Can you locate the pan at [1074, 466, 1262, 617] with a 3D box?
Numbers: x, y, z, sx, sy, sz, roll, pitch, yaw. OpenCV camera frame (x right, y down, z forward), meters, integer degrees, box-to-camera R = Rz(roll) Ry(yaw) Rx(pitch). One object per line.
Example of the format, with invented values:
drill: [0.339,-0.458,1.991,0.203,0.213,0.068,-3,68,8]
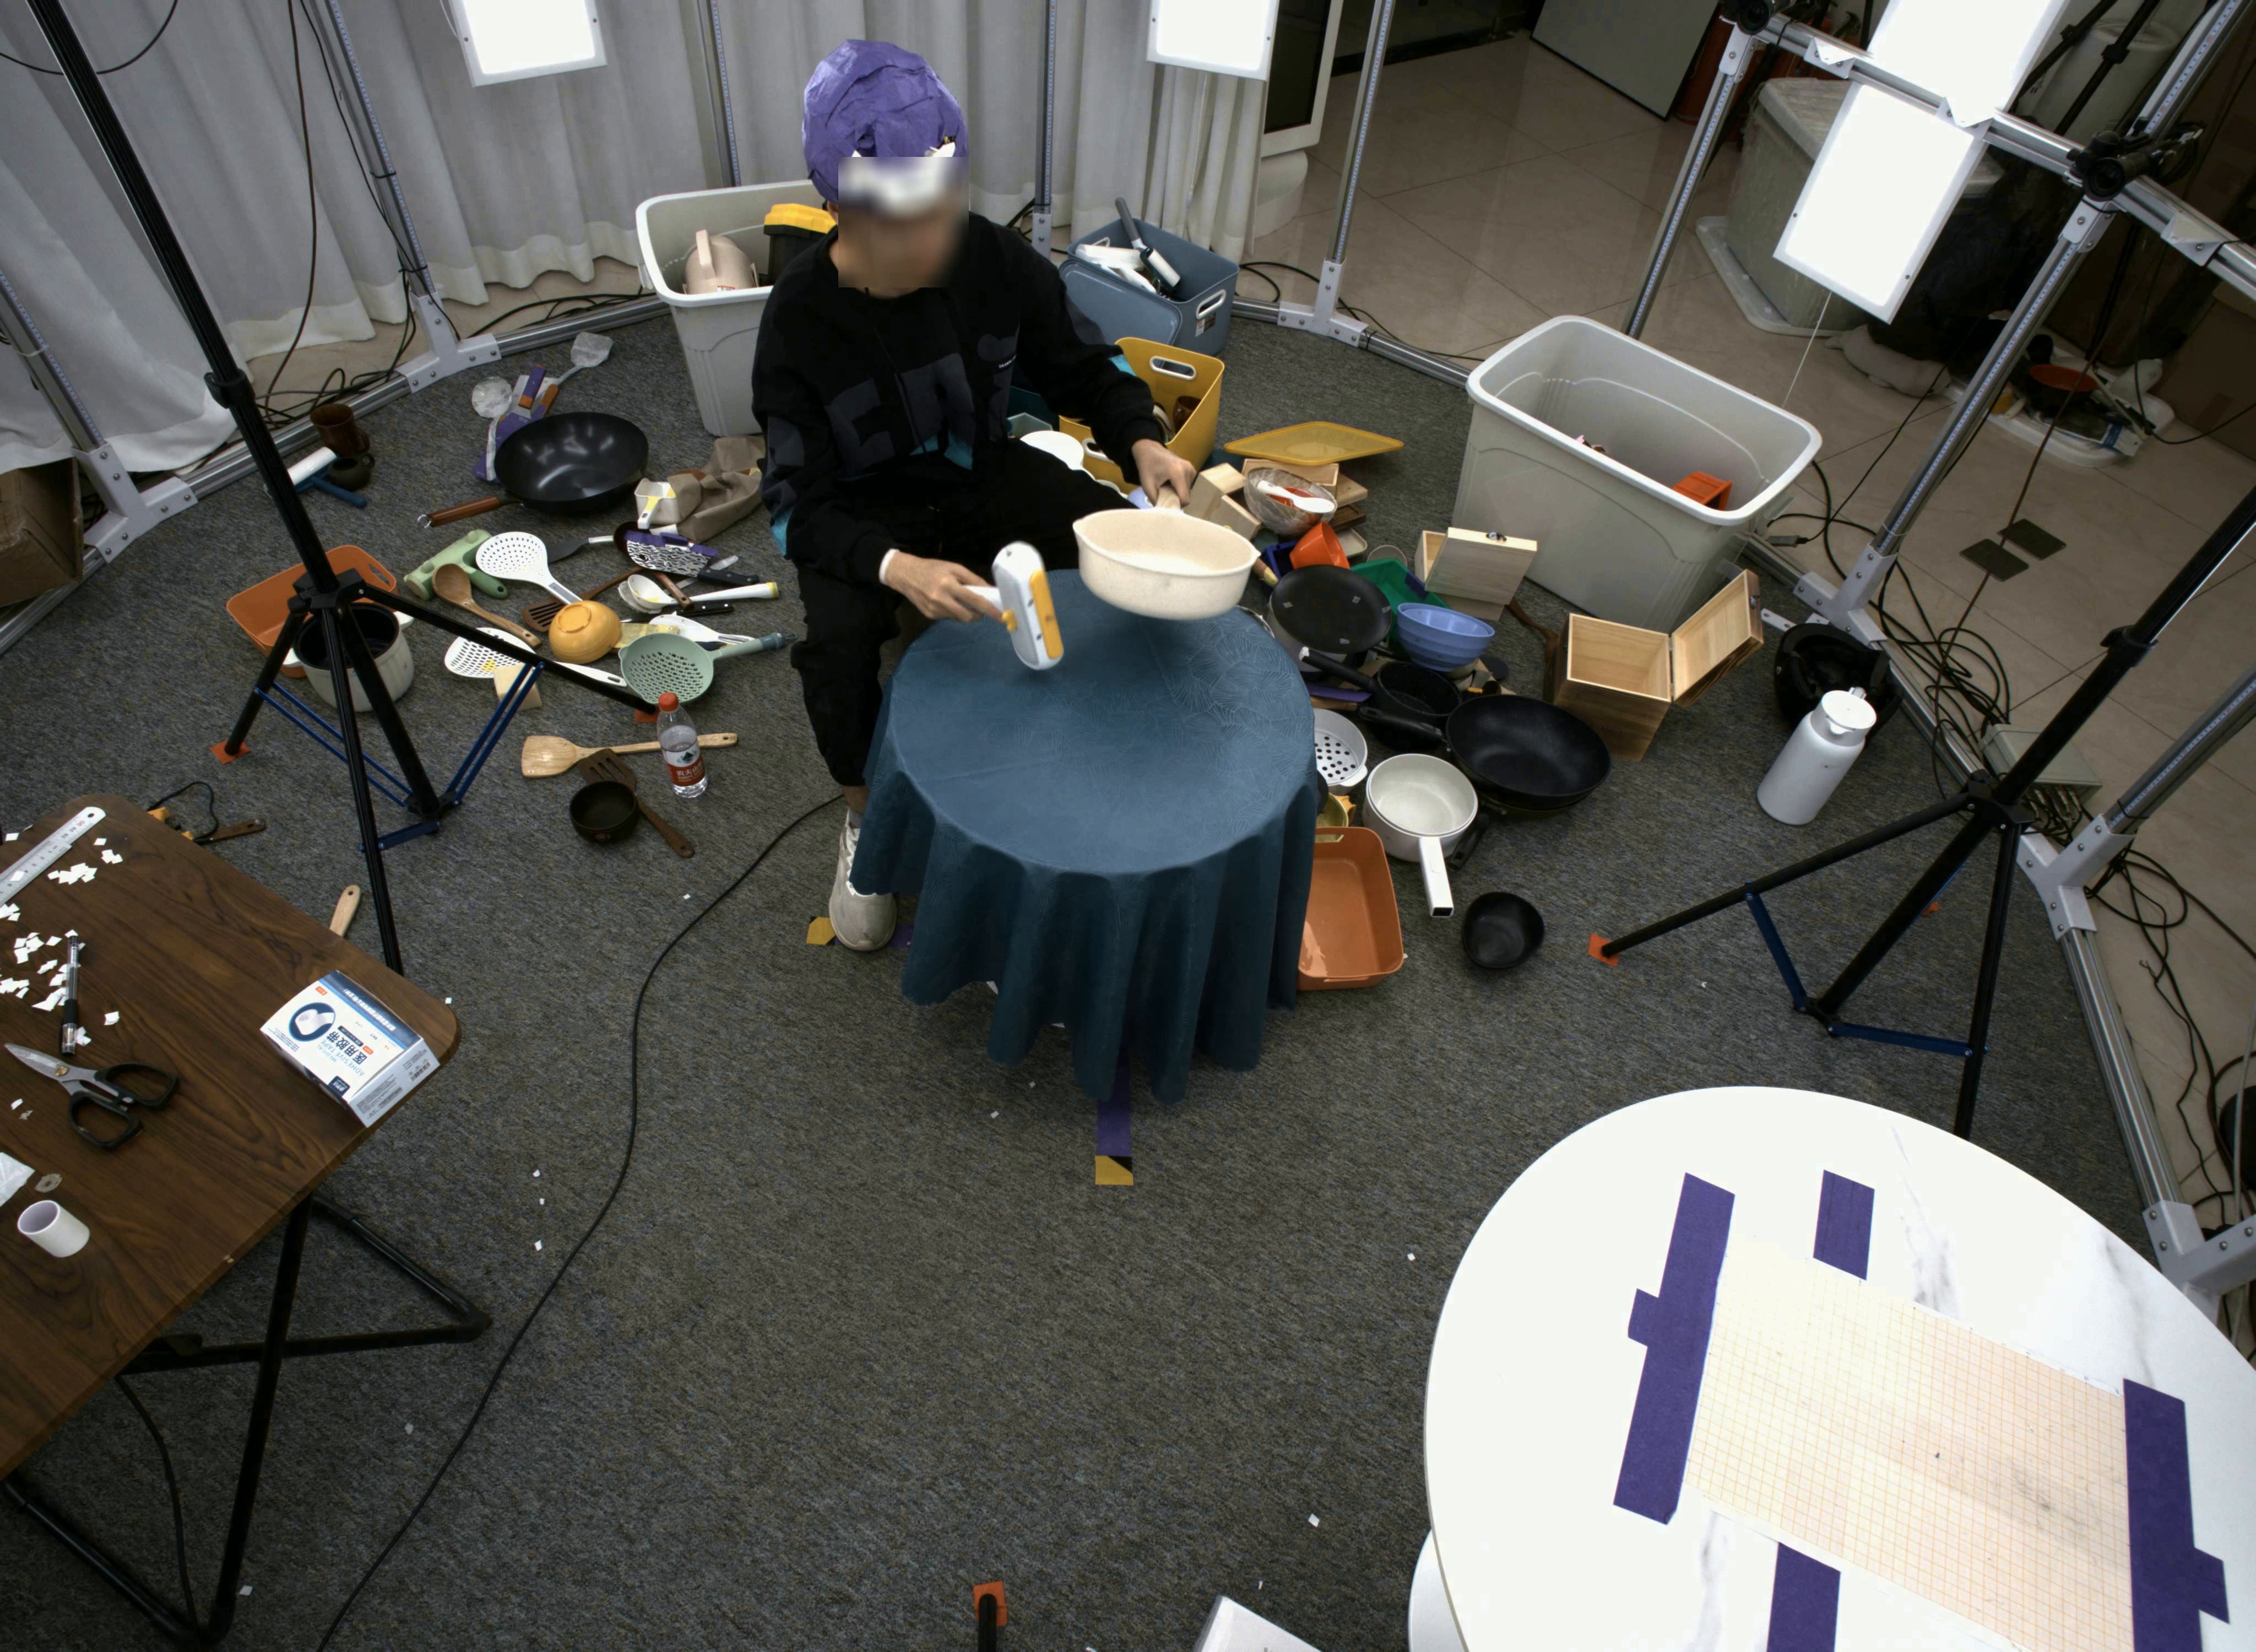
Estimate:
pan: [0.055,-0.418,1.879,0.263,0.100,0.444,6,30,-2]

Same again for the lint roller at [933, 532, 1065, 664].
lint roller: [-0.186,-0.320,1.795,0.194,0.188,0.075,18,53,35]
